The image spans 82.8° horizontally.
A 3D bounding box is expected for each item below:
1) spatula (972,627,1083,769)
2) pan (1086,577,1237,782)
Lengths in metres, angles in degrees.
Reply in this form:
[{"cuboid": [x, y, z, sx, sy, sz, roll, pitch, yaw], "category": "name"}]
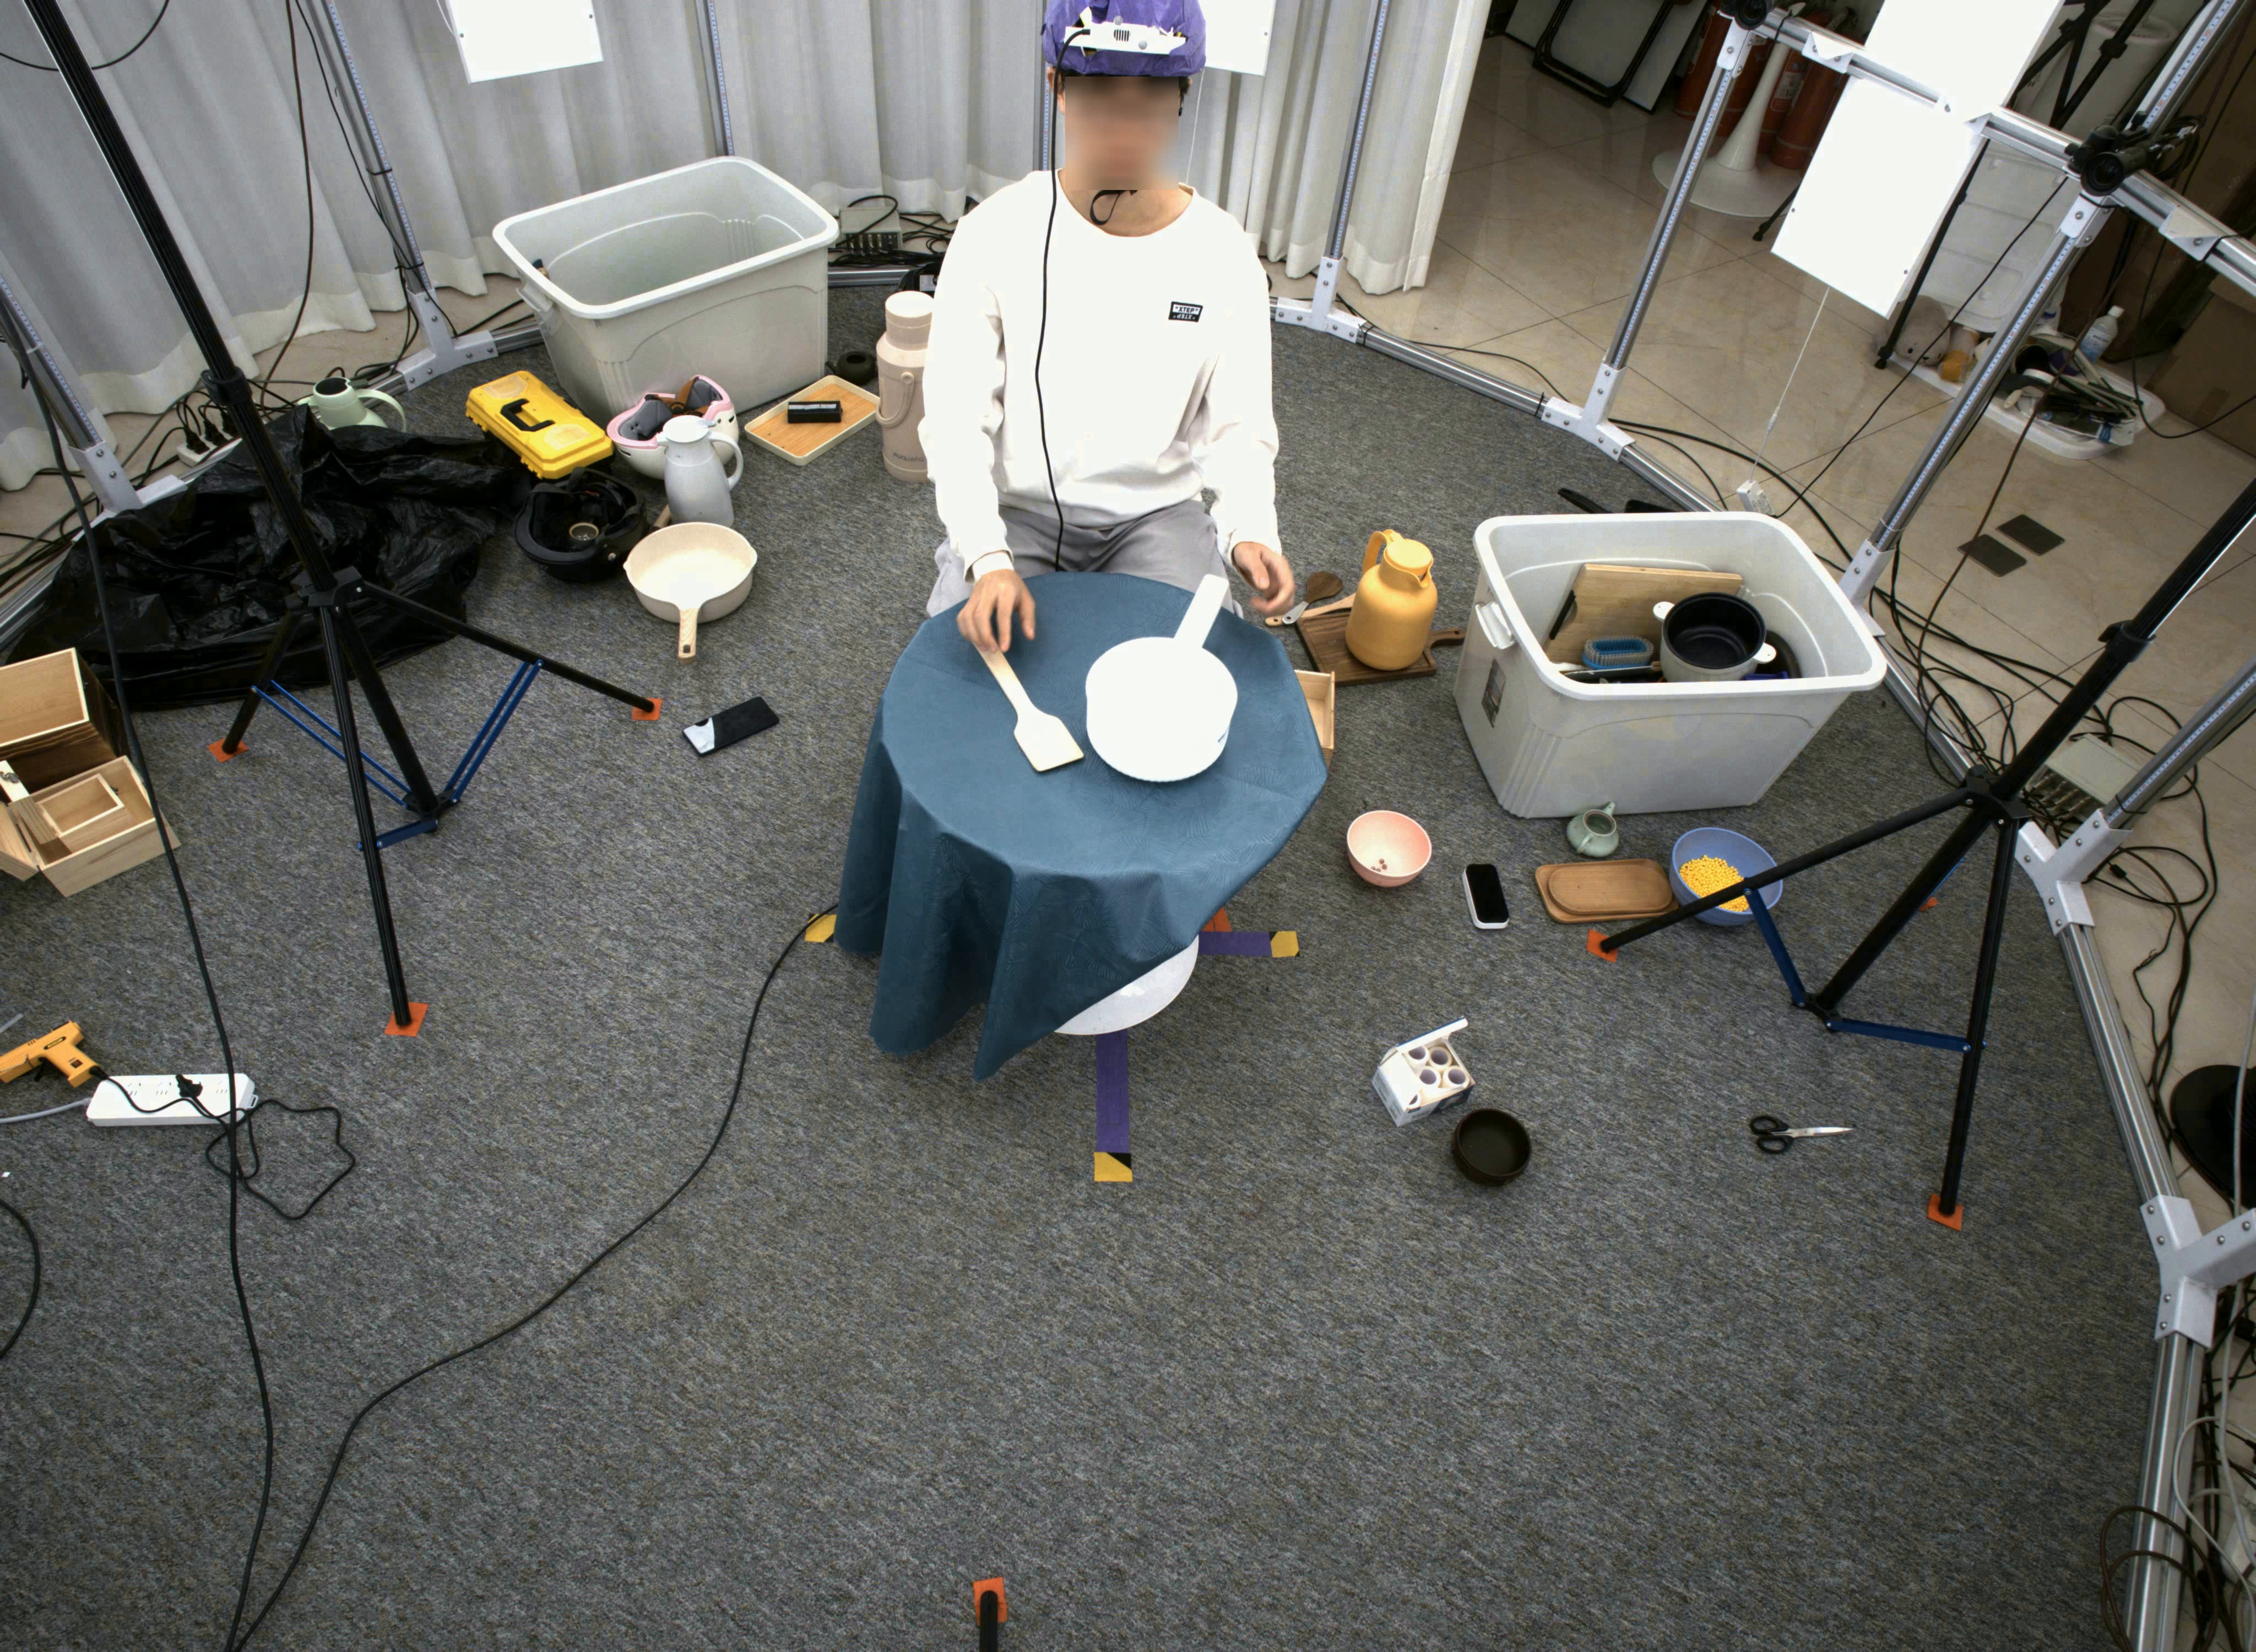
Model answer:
[{"cuboid": [-0.156, -0.187, 1.810, 0.072, 0.010, 0.299, -20, 53, -18], "category": "spatula"}, {"cuboid": [0.069, -0.206, 1.787, 0.202, 0.099, 0.362, 16, 49, 11], "category": "pan"}]
